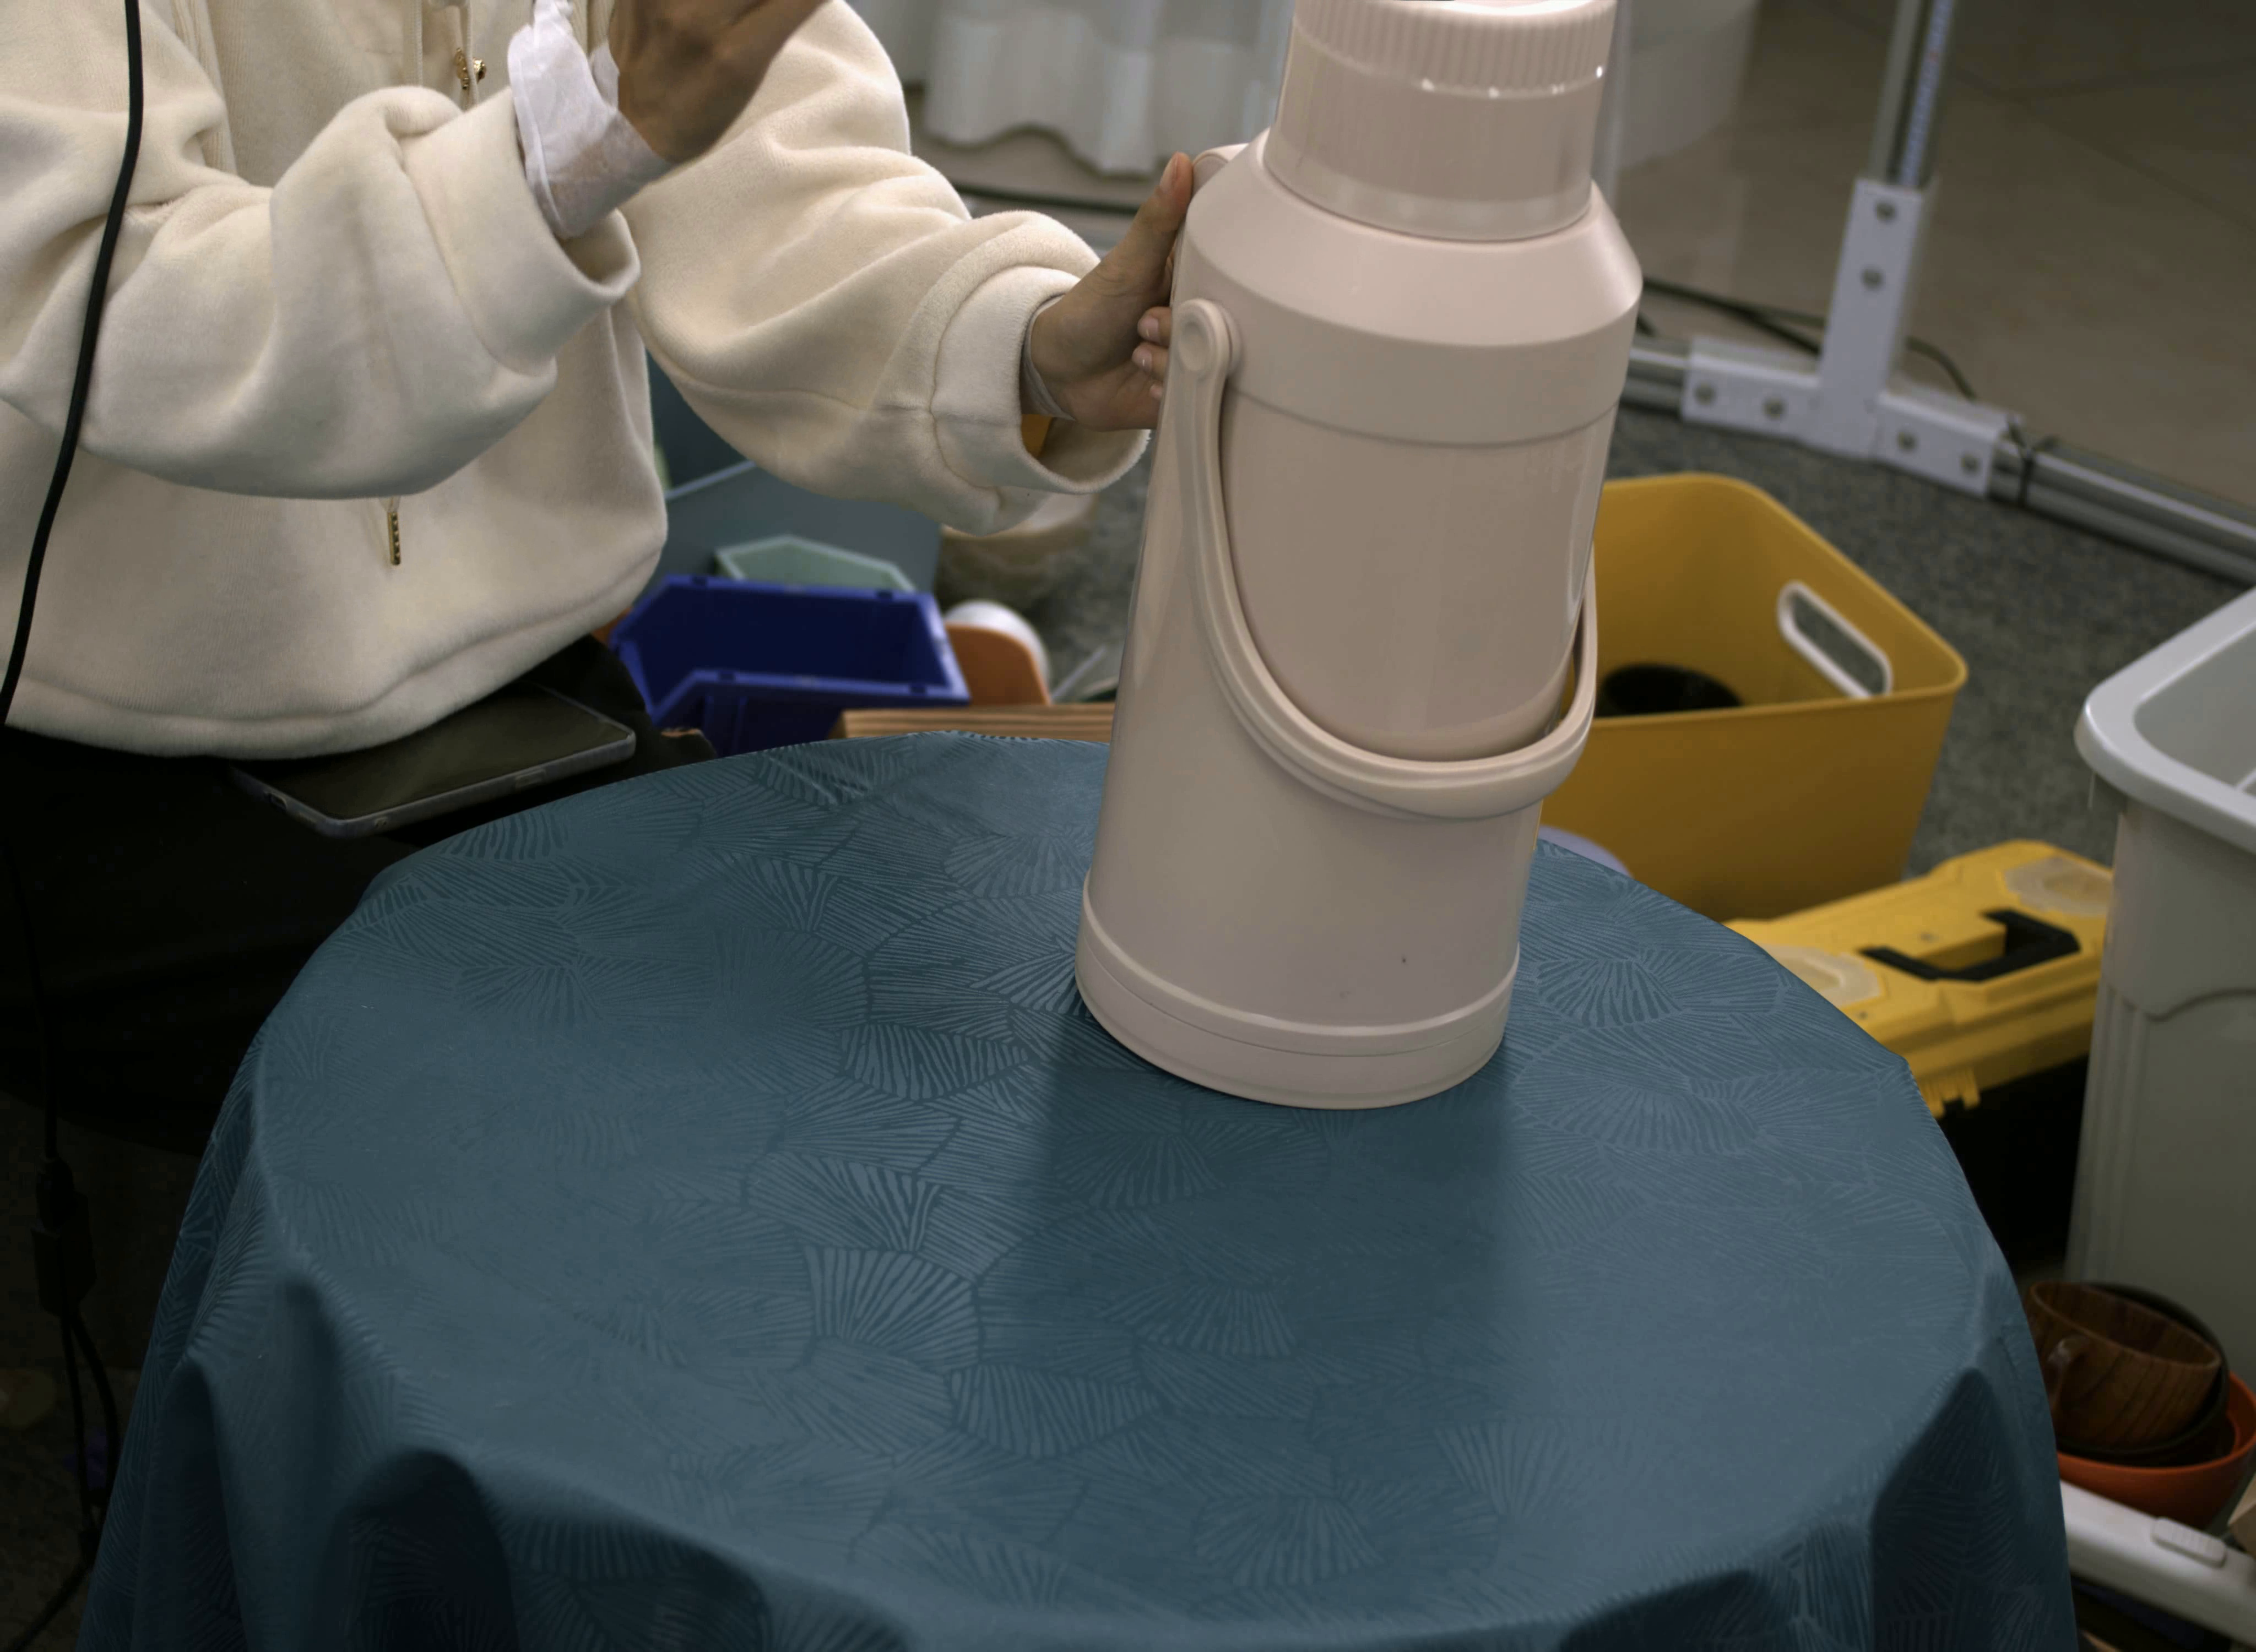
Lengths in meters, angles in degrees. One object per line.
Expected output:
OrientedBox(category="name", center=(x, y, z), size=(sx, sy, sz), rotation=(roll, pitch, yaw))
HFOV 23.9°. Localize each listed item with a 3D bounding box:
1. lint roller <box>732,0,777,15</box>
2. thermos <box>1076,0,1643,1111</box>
OrientedBox(category="lint roller", center=(-0.143, -0.353, 1.715), size=(0.048, 0.196, 0.117), rotation=(-4, 35, -1))
OrientedBox(category="thermos", center=(0.078, -0.118, 1.851), size=(0.174, 0.405, 0.209), rotation=(-11, 33, -32))
